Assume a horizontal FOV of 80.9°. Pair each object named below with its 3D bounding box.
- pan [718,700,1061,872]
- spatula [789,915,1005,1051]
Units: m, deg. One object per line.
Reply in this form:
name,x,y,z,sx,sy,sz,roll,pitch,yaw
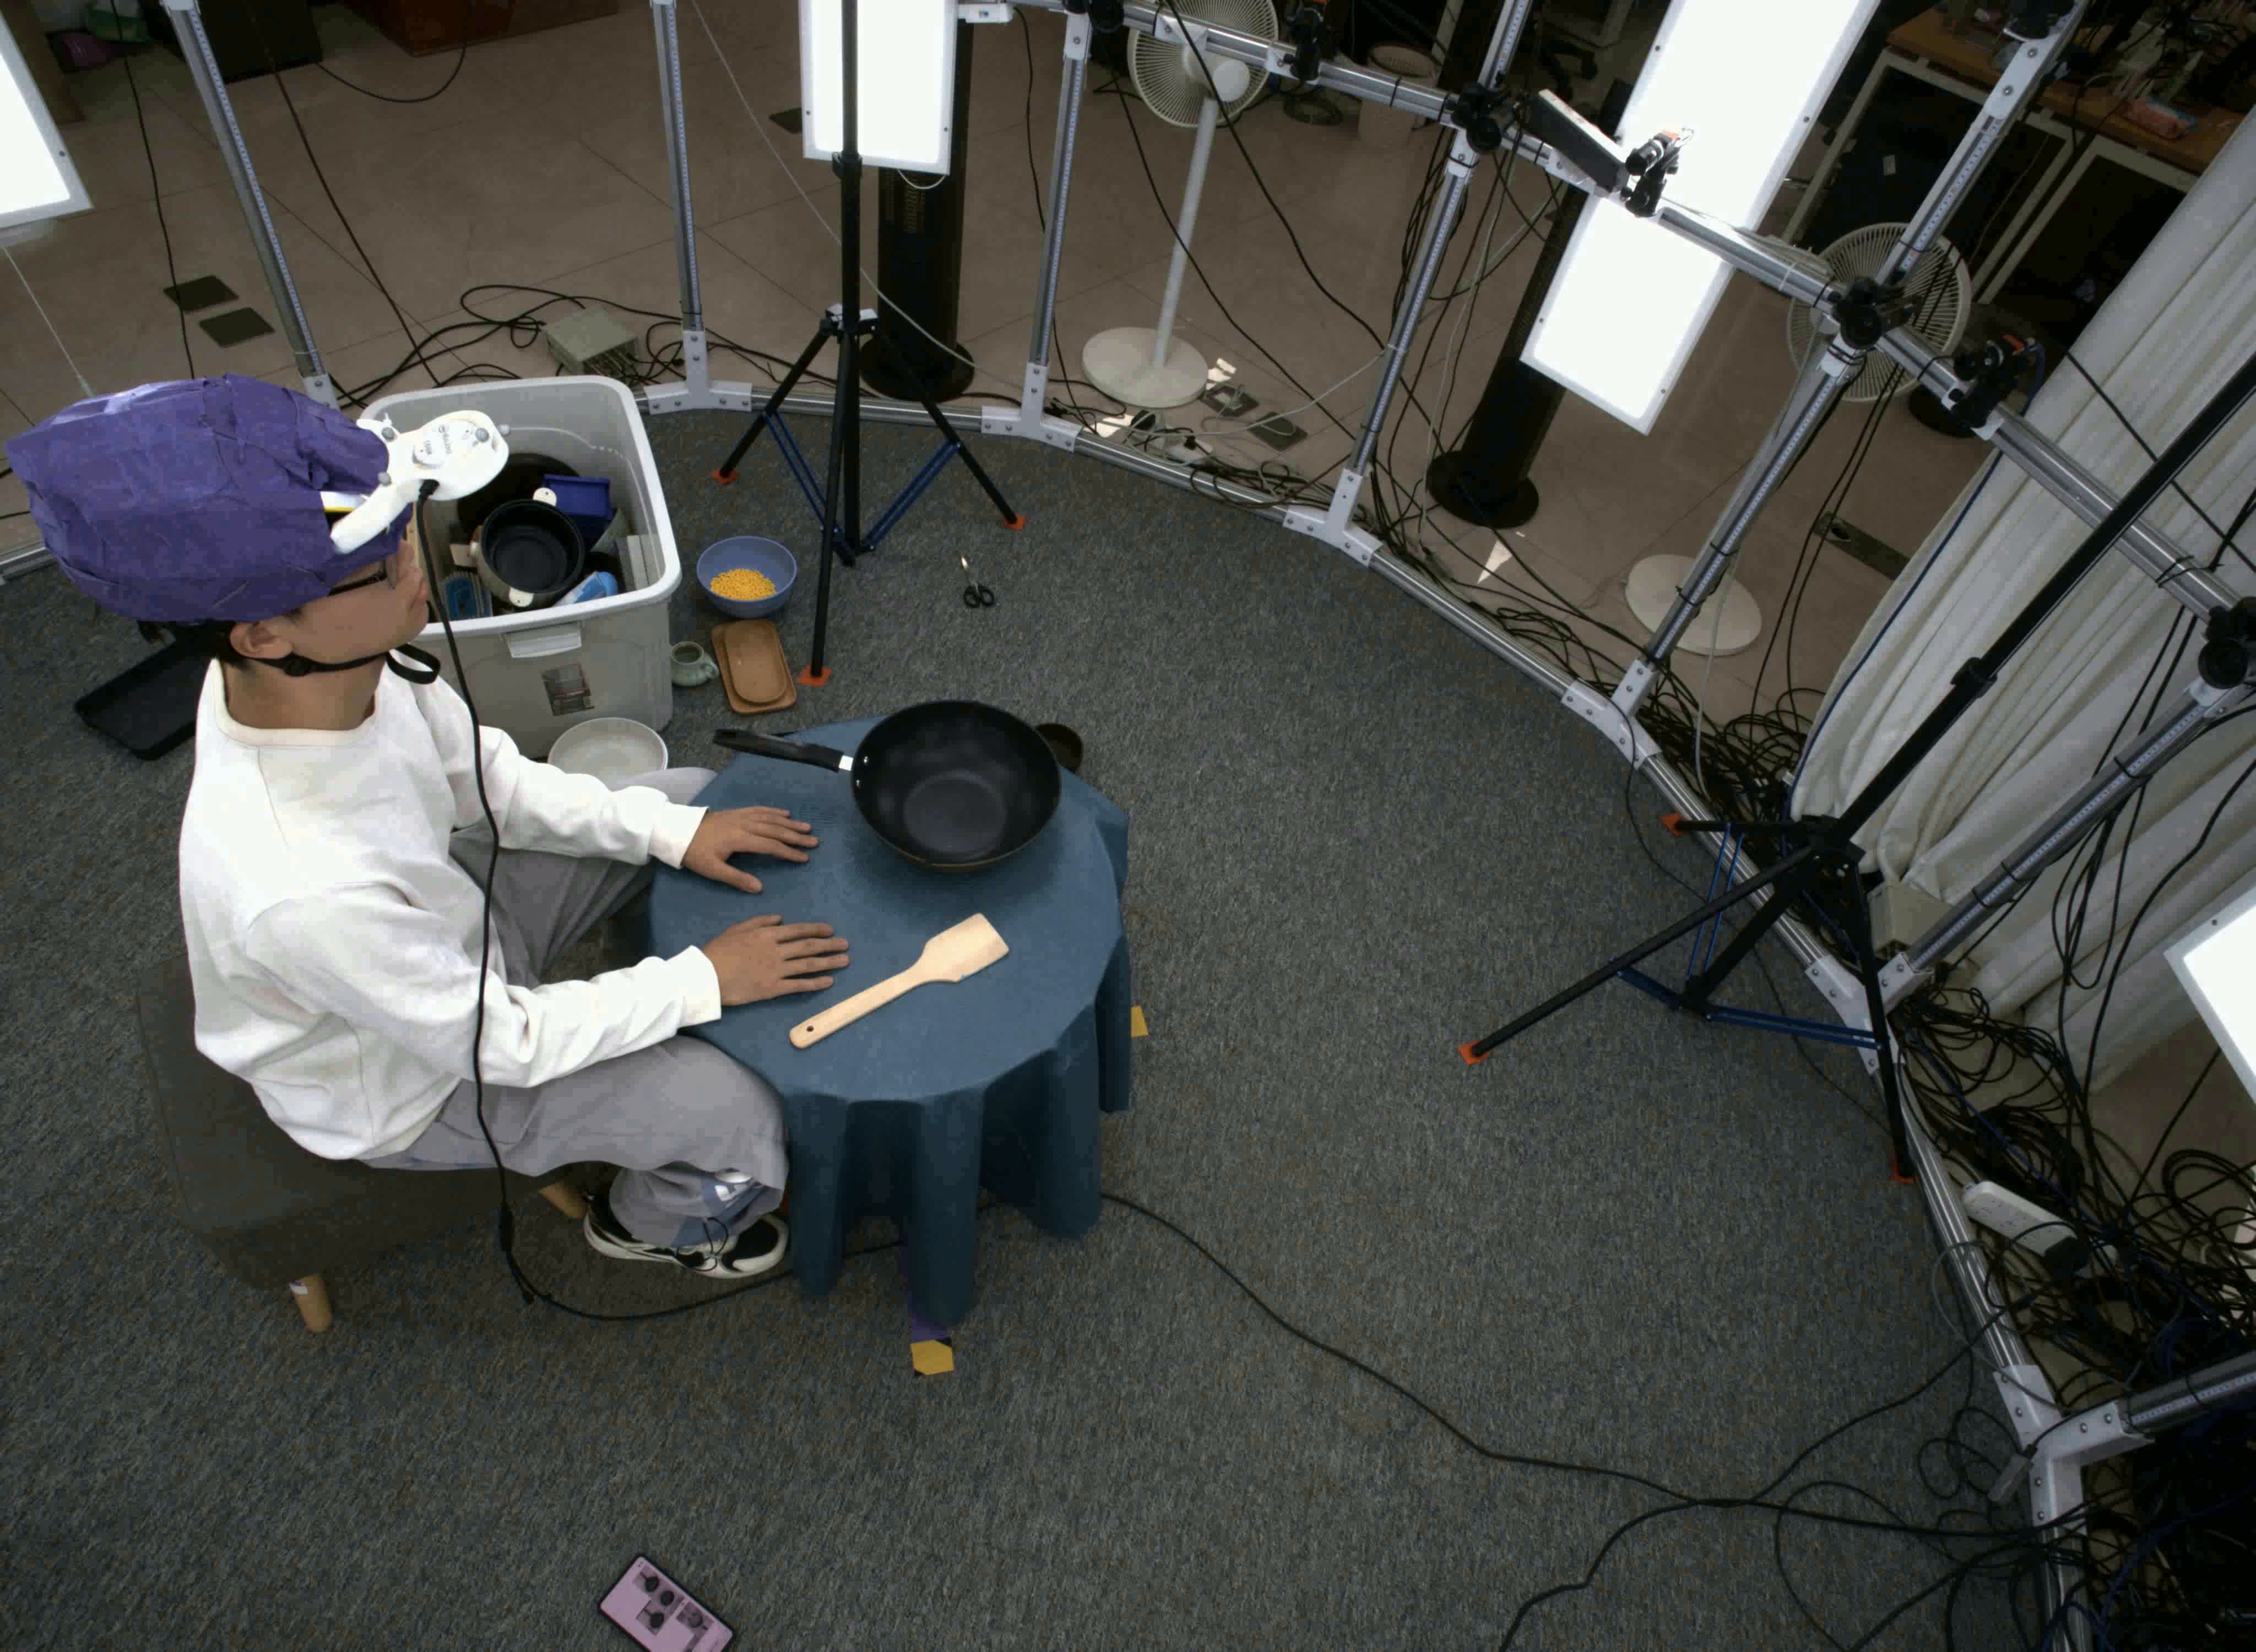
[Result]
pan,-0.320,-0.057,1.749,0.460,0.089,0.283,10,52,-4
spatula,-0.288,0.198,1.615,0.294,0.011,0.070,-28,66,-29
